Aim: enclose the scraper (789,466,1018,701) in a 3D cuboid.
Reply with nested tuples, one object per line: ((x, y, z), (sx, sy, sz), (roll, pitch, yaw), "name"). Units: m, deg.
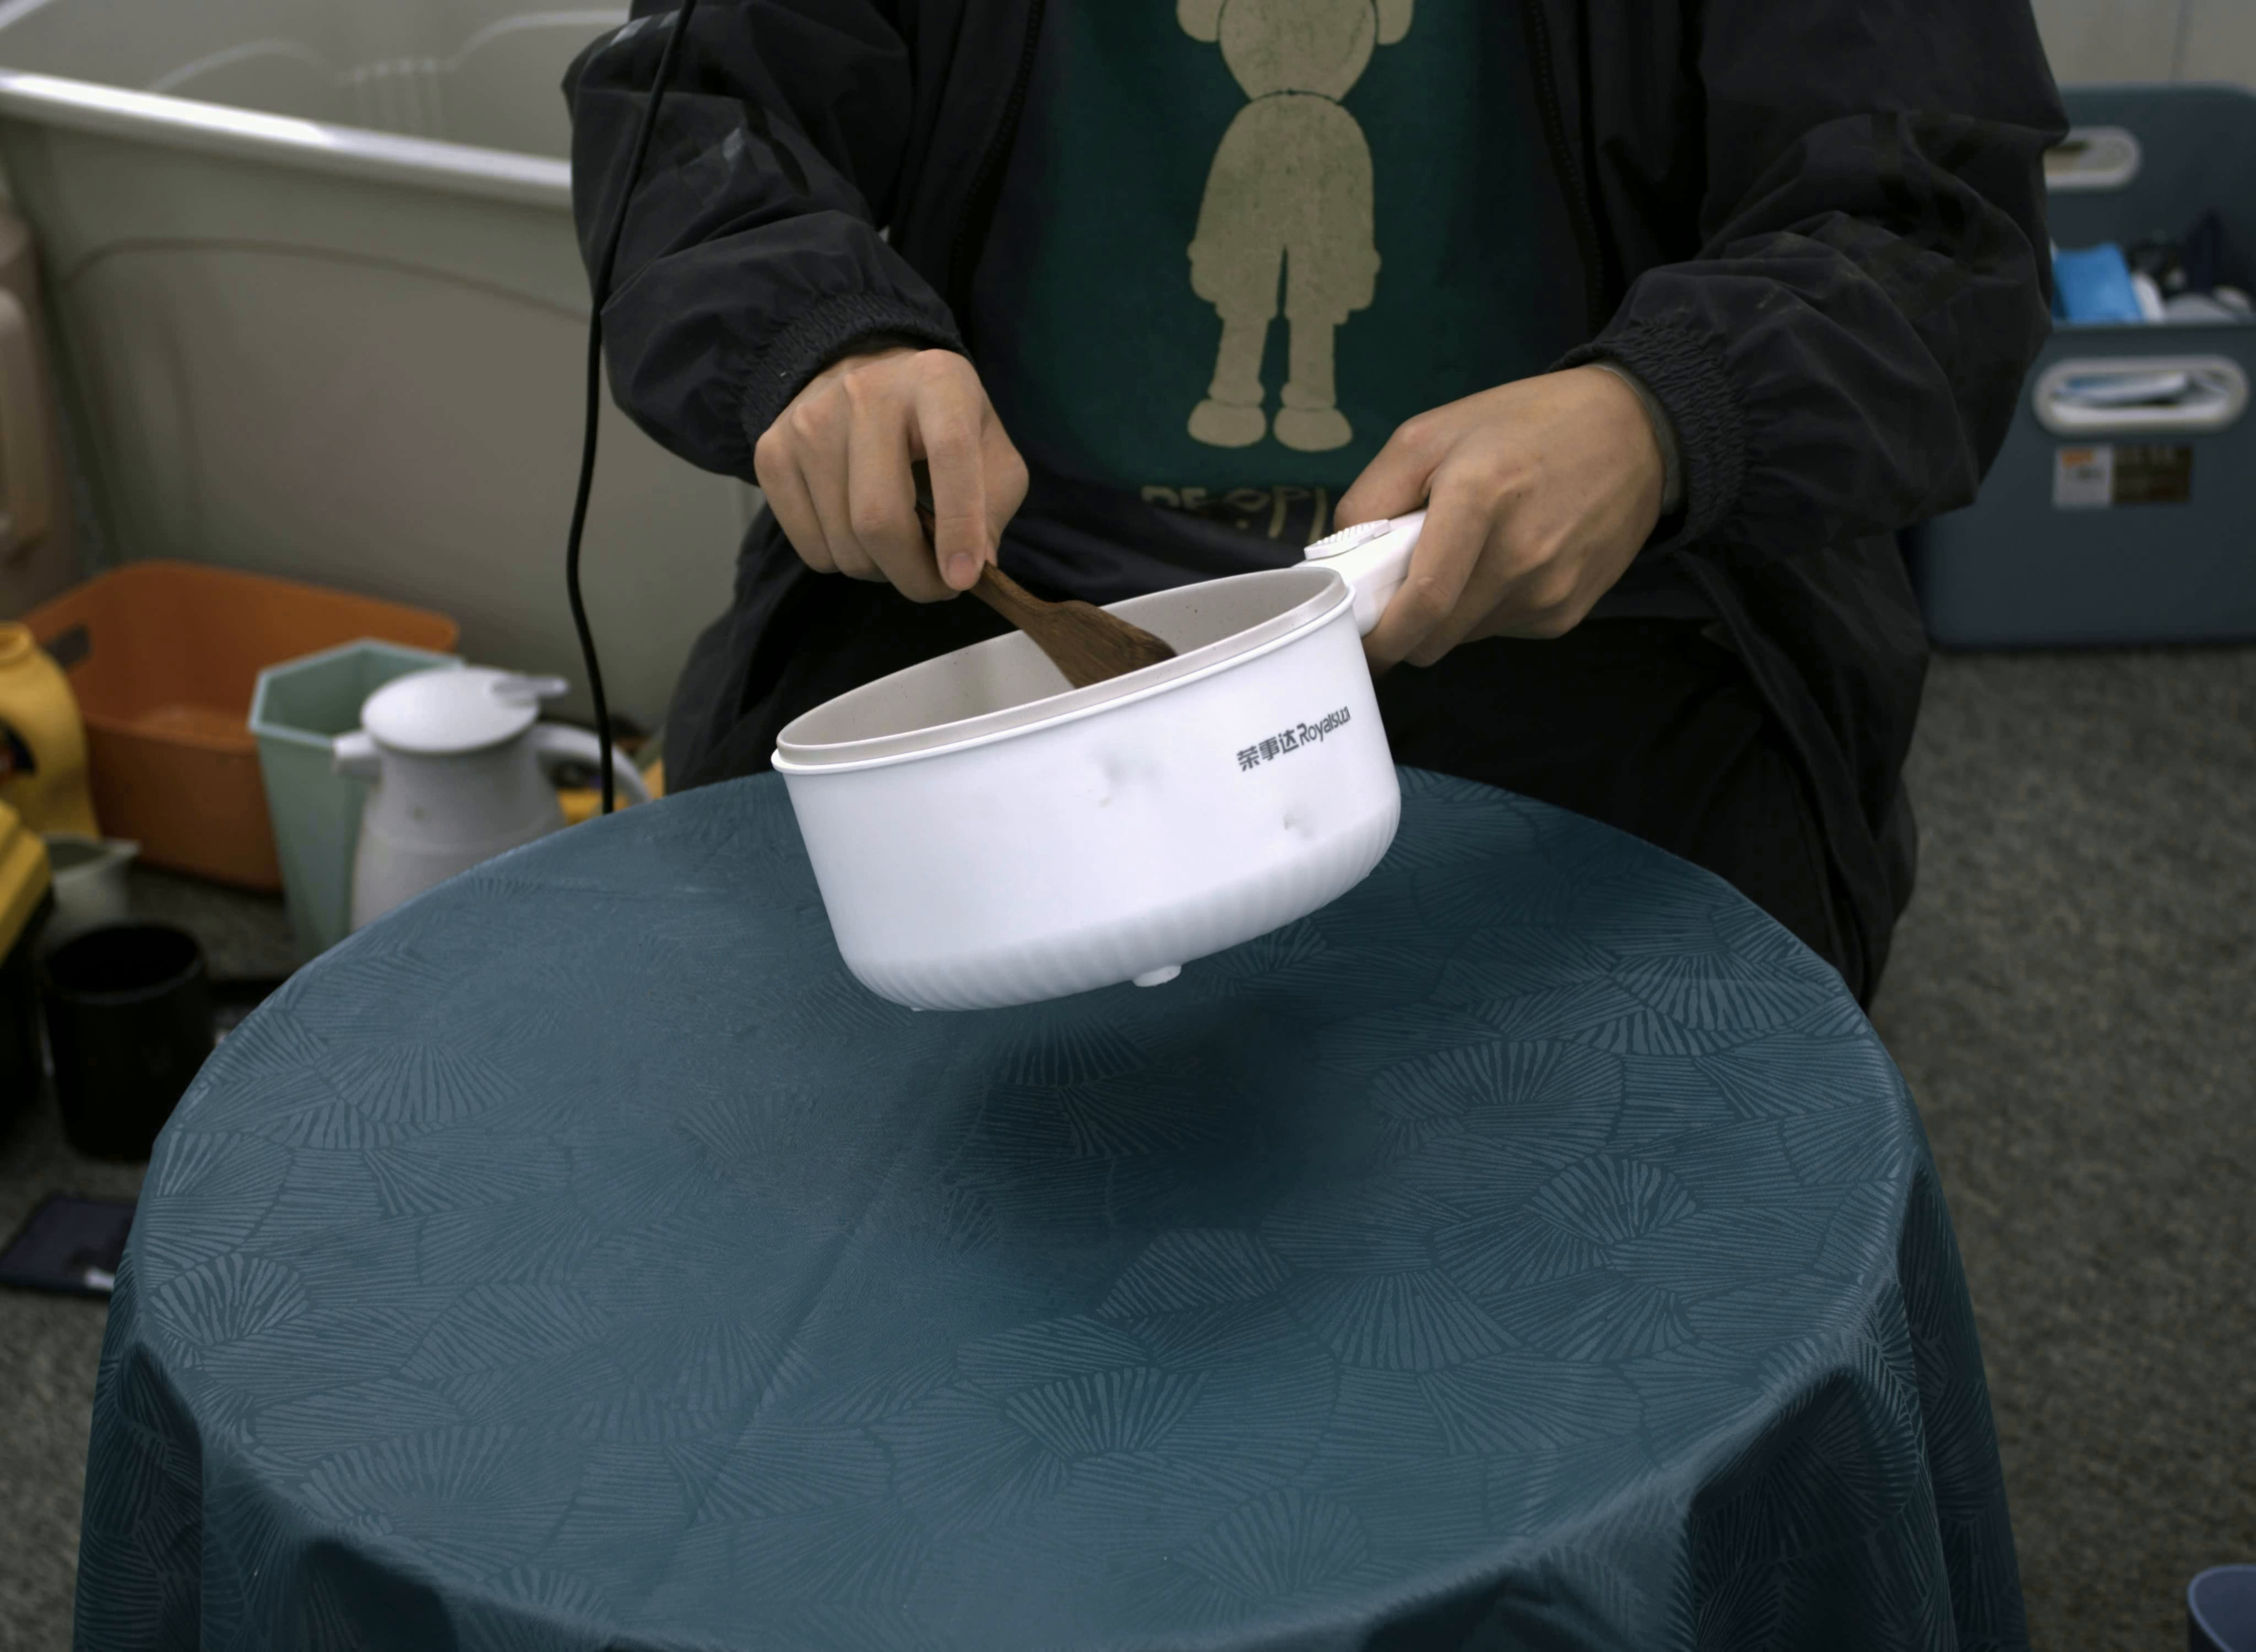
((-0.069, -0.067, 1.904), (0.011, 0.075, 0.213), (-32, 40, -8), "scraper")

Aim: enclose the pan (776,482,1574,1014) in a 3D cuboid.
((0.040, -0.029, 1.916), (0.199, 0.102, 0.359), (-10, 9, 42), "pan")
